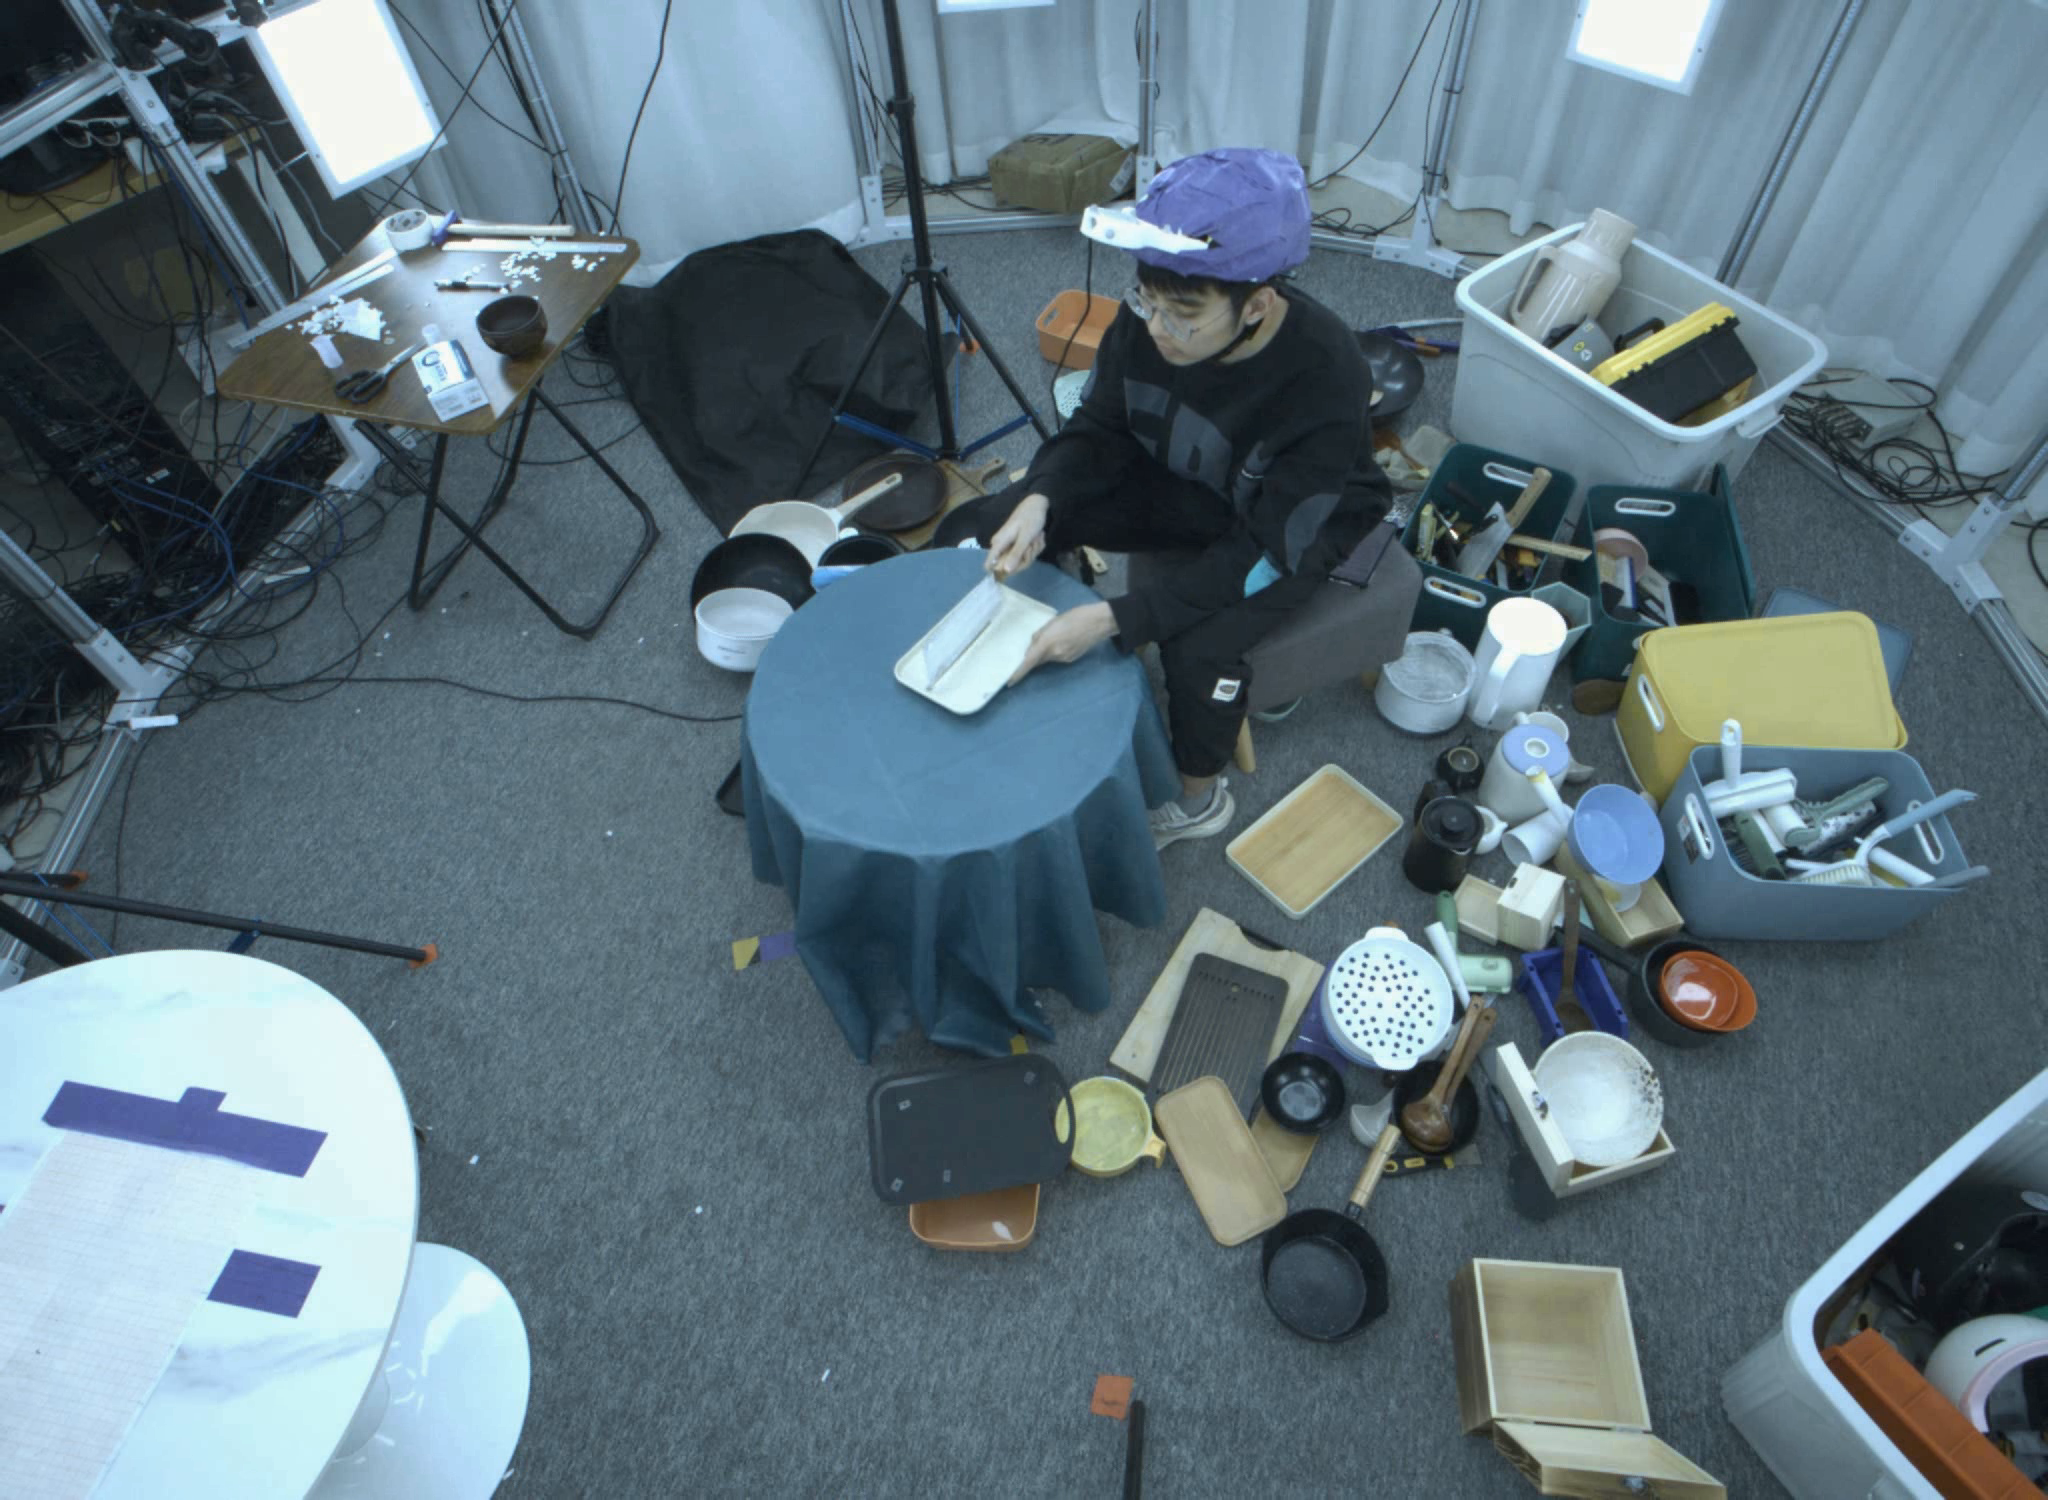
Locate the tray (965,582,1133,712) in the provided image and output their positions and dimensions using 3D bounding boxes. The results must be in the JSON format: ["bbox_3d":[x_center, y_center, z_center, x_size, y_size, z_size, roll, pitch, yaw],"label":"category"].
[{"bbox_3d":[0.039,-0.158,1.874,0.168,0.018,0.241,33,64,31],"label":"tray"}]

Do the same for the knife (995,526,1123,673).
[{"bbox_3d":[0.056,-0.226,1.864,0.020,0.094,0.307,30,60,27],"label":"knife"}]
